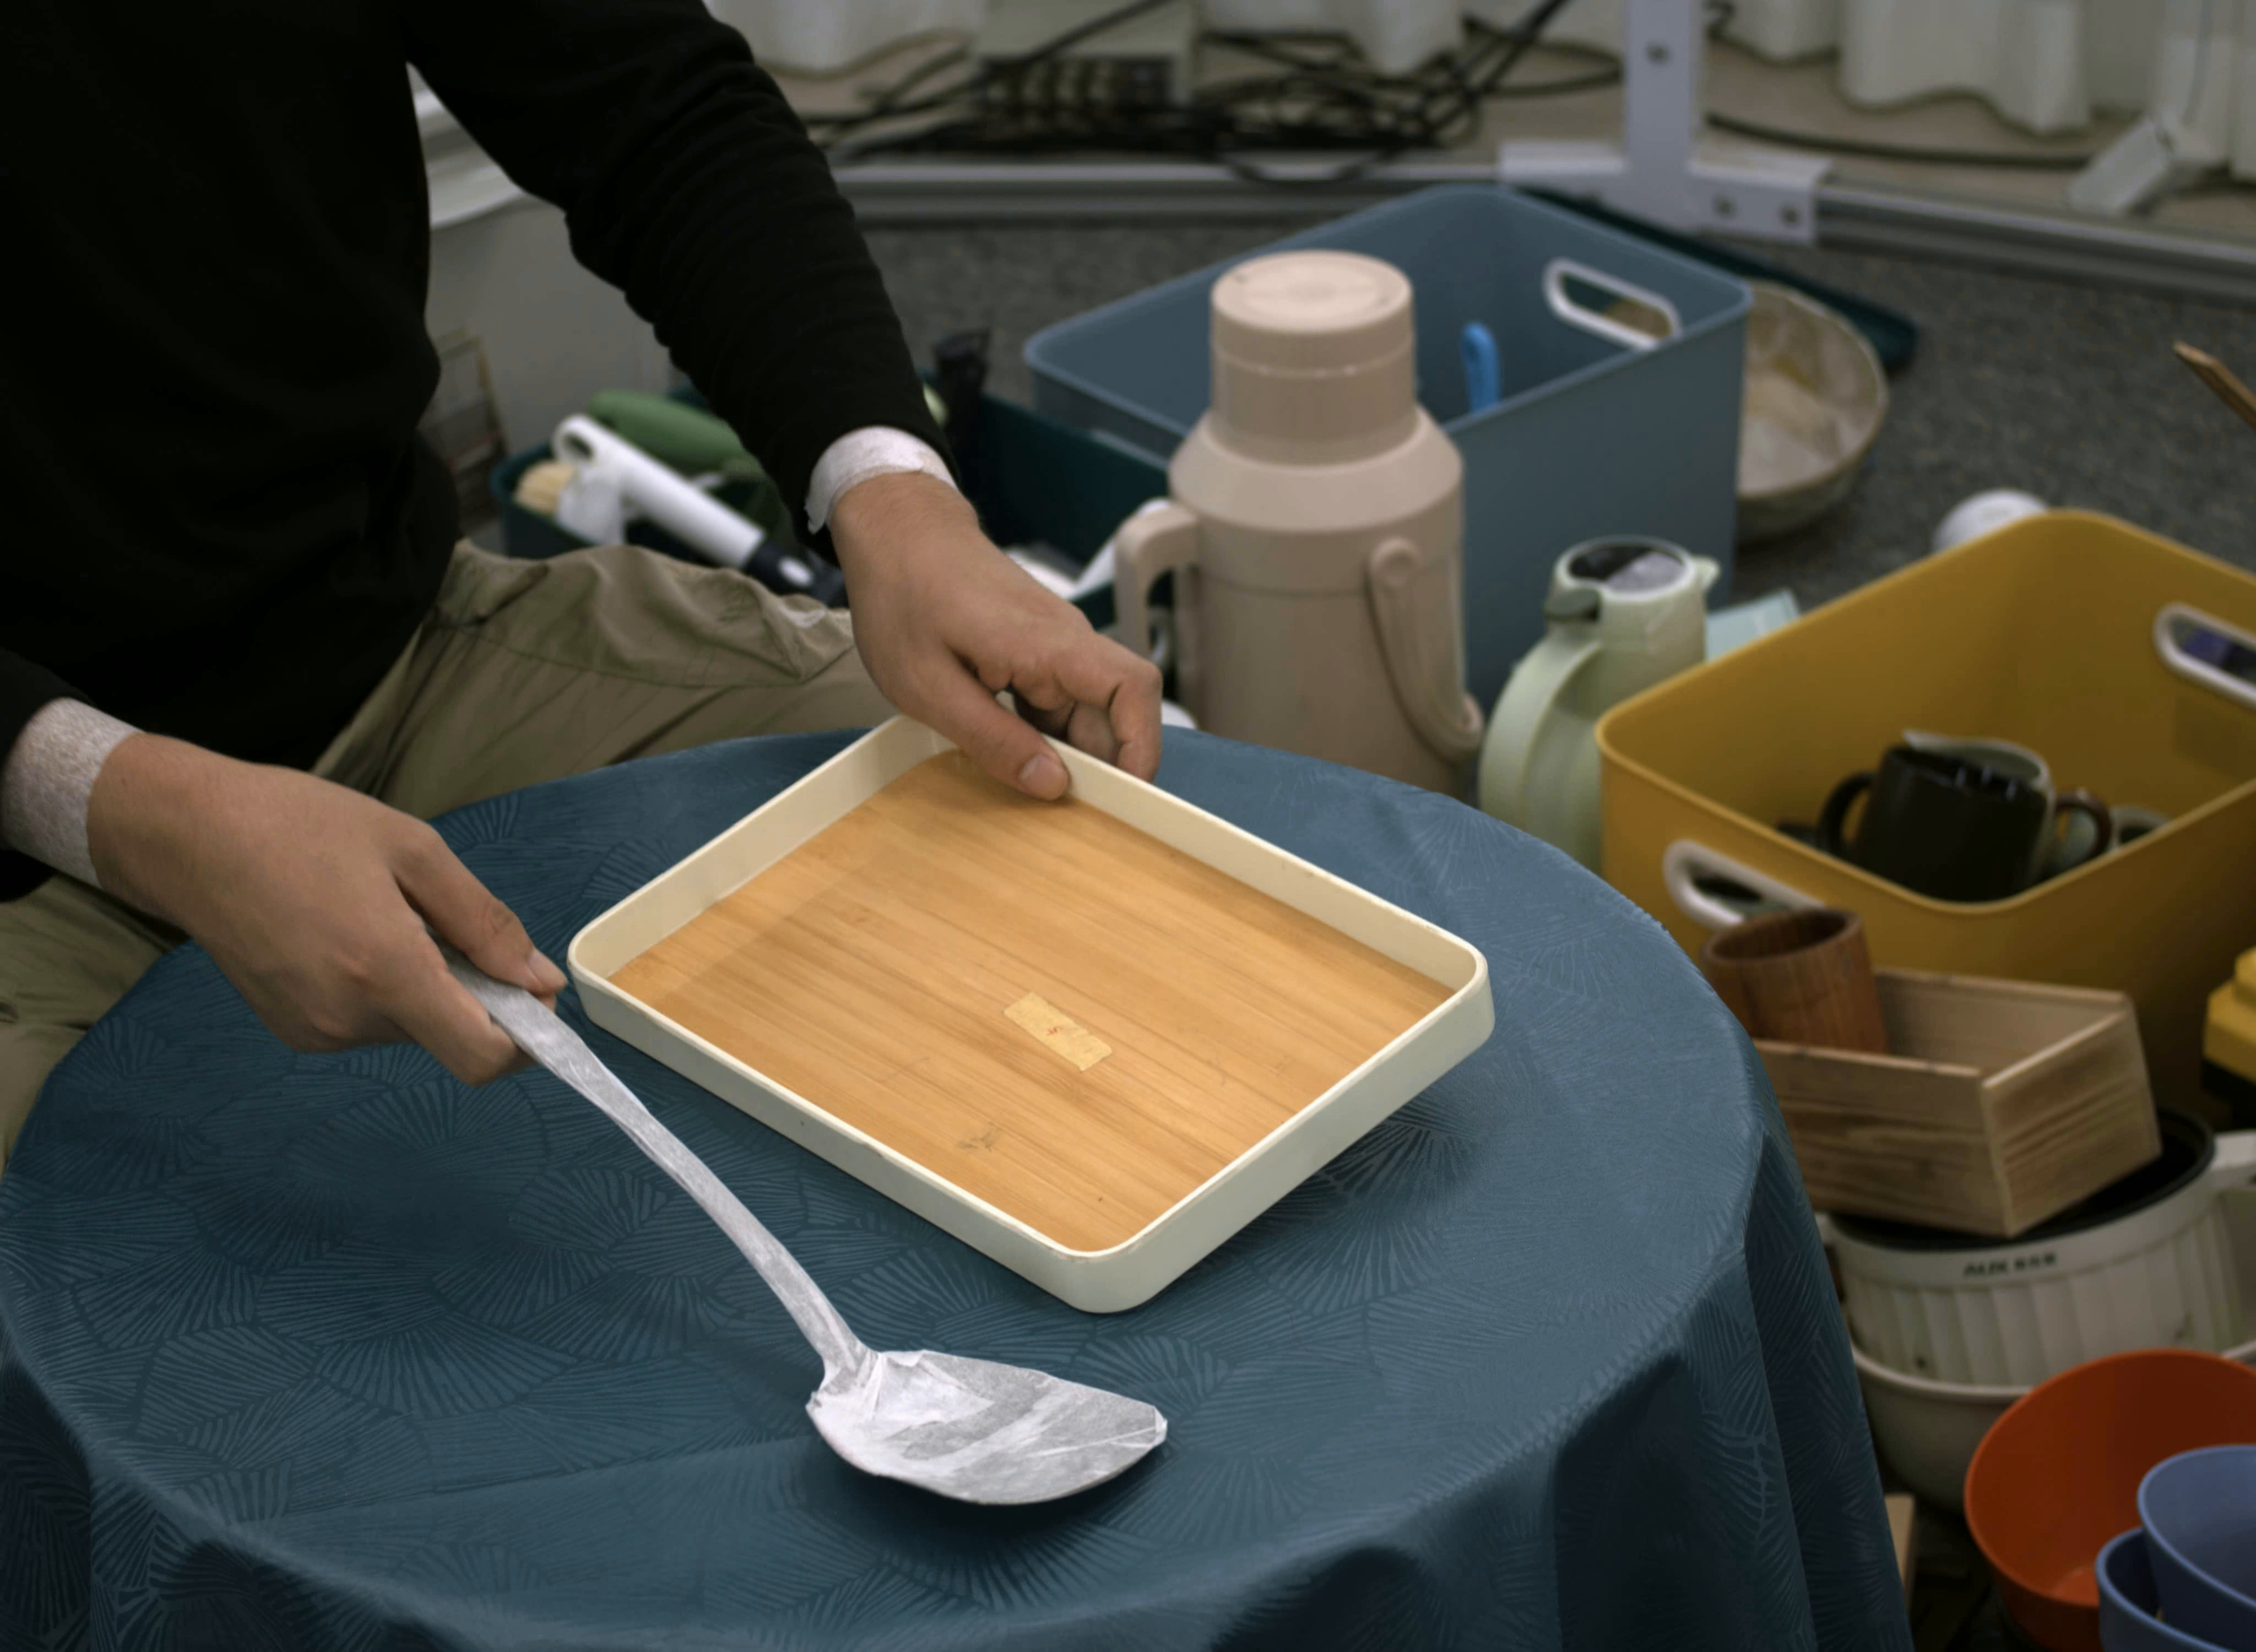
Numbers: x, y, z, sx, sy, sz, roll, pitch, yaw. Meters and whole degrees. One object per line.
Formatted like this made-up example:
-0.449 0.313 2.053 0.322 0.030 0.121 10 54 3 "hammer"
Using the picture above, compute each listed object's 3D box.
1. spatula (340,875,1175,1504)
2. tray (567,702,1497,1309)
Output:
-0.137 0.107 1.780 0.366 0.044 0.099 40 35 27 "spatula"
-0.037 0.055 1.927 0.194 0.027 0.300 -34 39 -28 "tray"
